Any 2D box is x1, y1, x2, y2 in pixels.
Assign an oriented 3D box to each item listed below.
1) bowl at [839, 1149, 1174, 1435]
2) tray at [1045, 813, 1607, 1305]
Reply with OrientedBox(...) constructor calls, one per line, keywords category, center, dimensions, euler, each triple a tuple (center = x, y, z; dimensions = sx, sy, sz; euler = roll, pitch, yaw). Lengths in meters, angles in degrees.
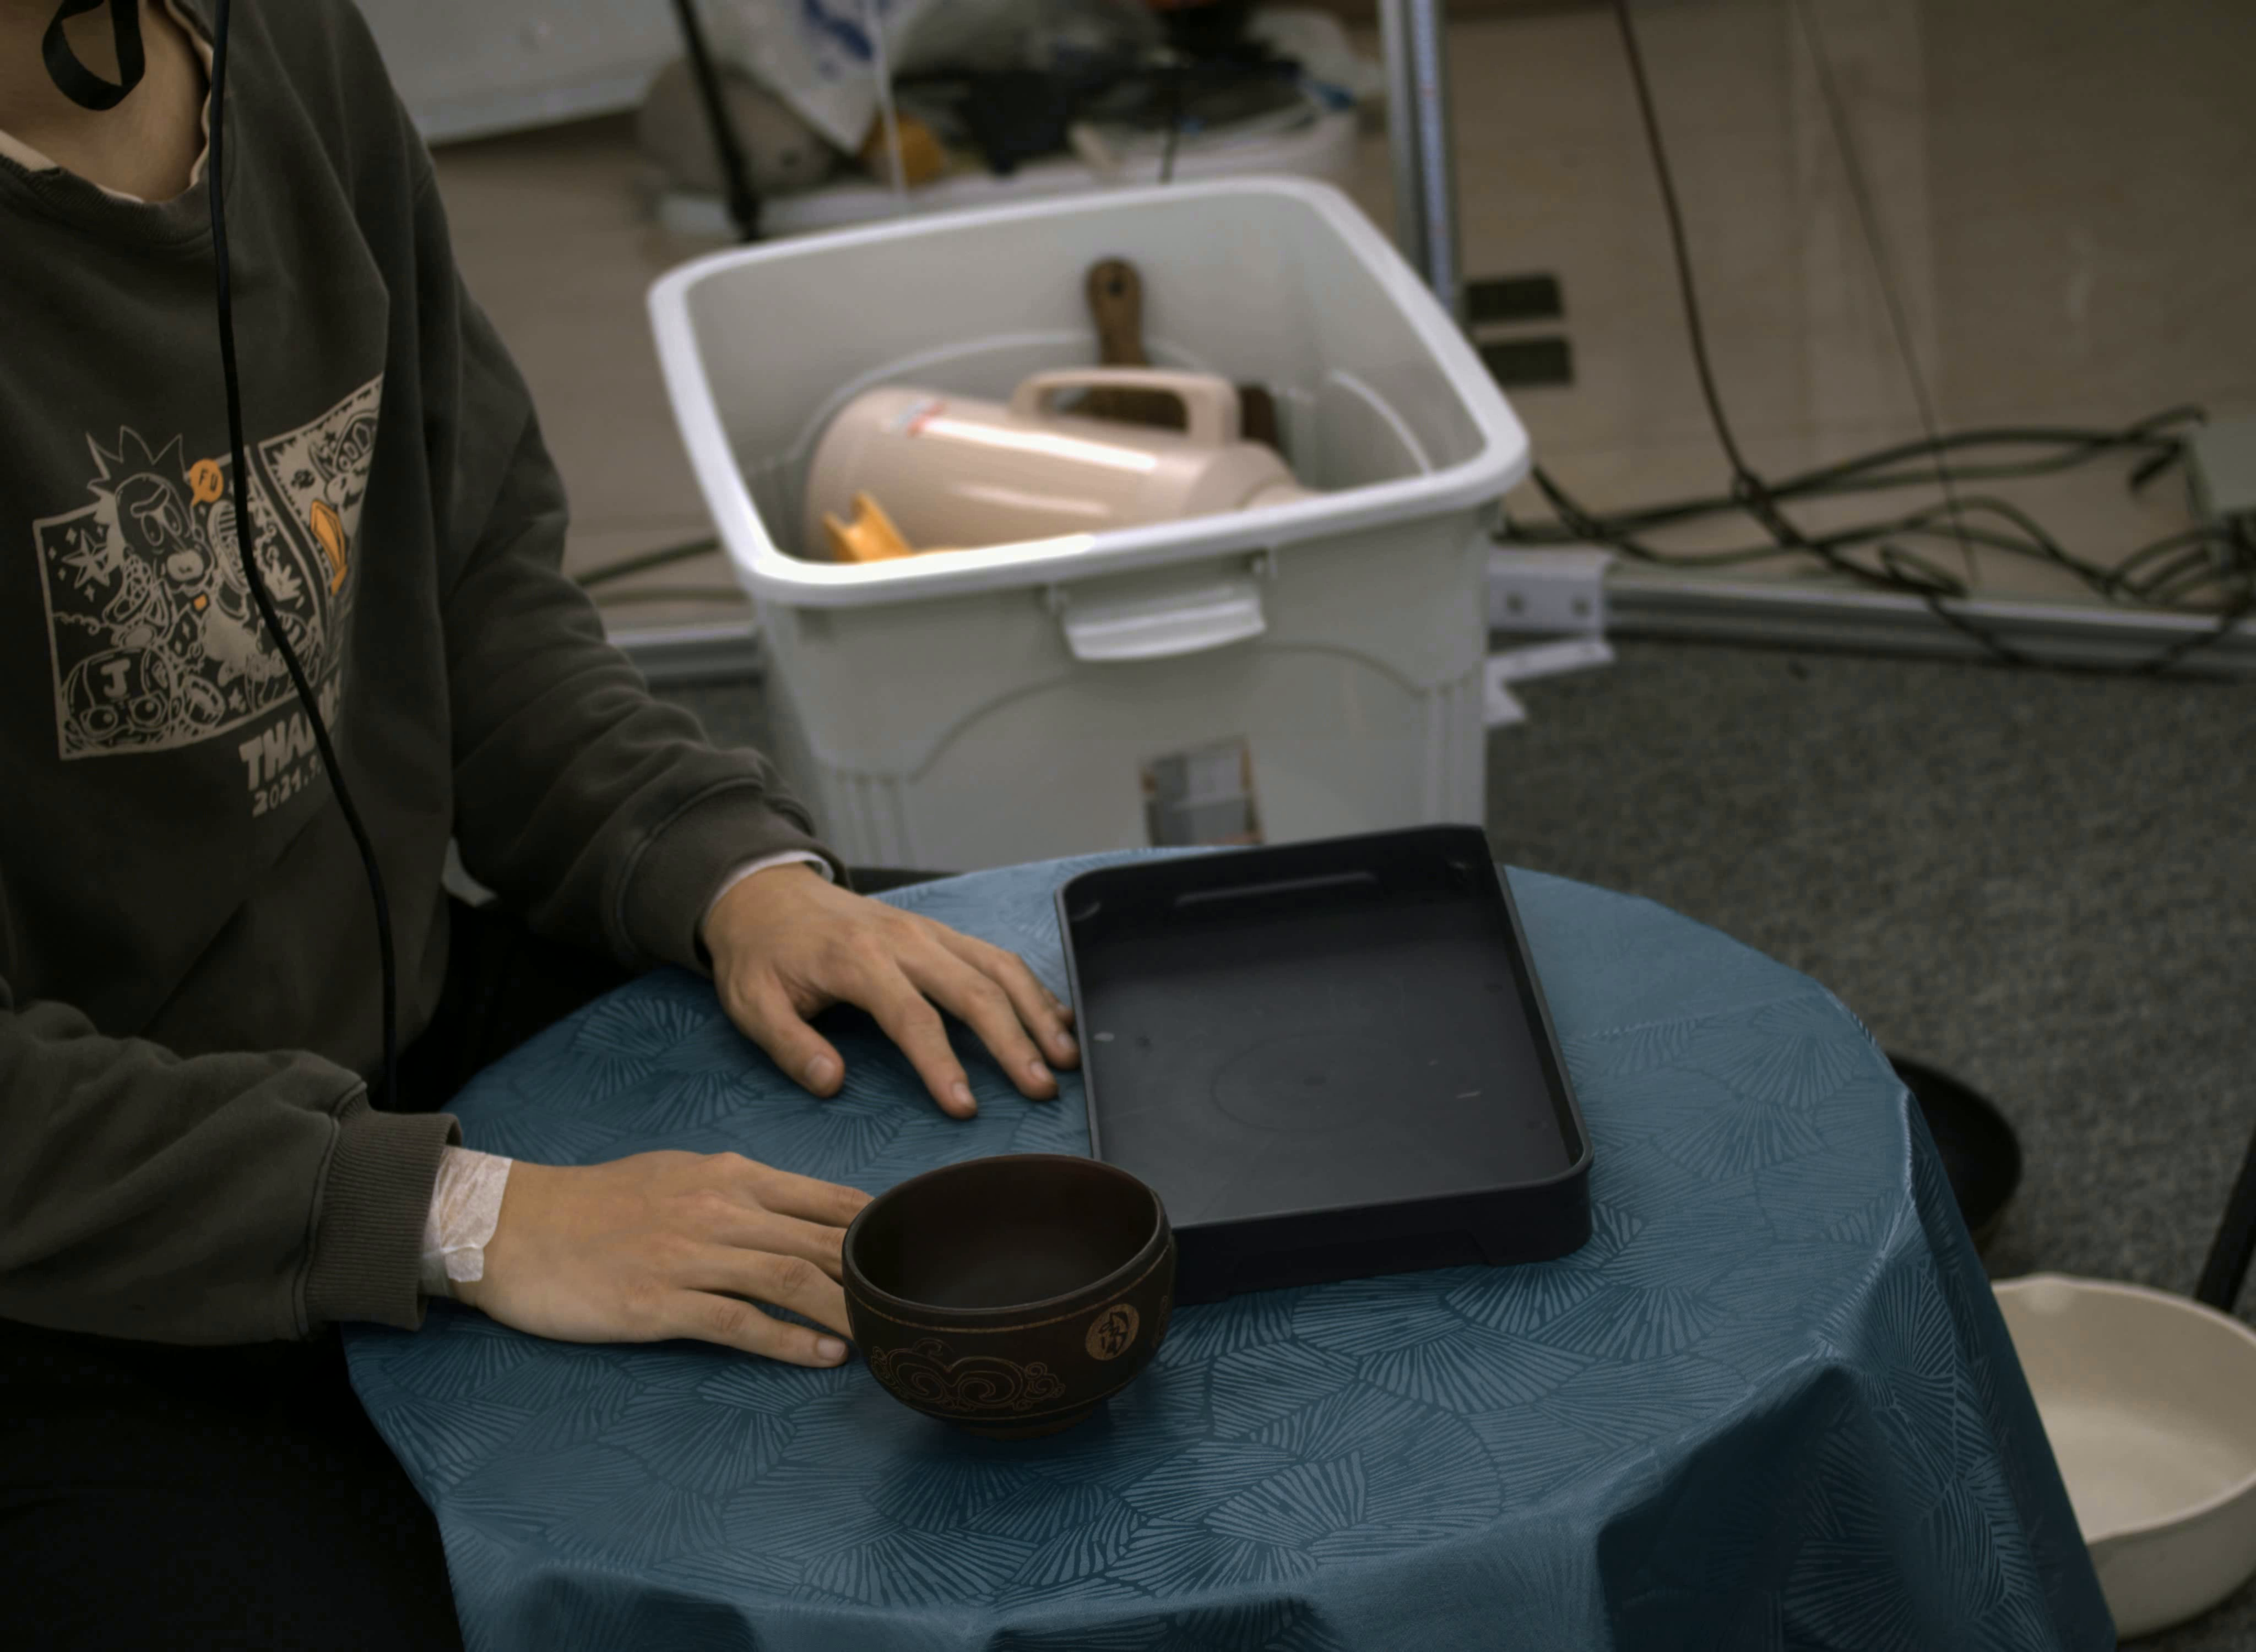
OrientedBox(category="bowl", center=(-0.041, 0.171, 2.002), dimensions=(0.118, 0.071, 0.116), euler=(-7, 24, 3))
OrientedBox(category="tray", center=(0.072, 0.085, 2.202), dimensions=(0.184, 0.037, 0.313), euler=(-9, 25, -2))
